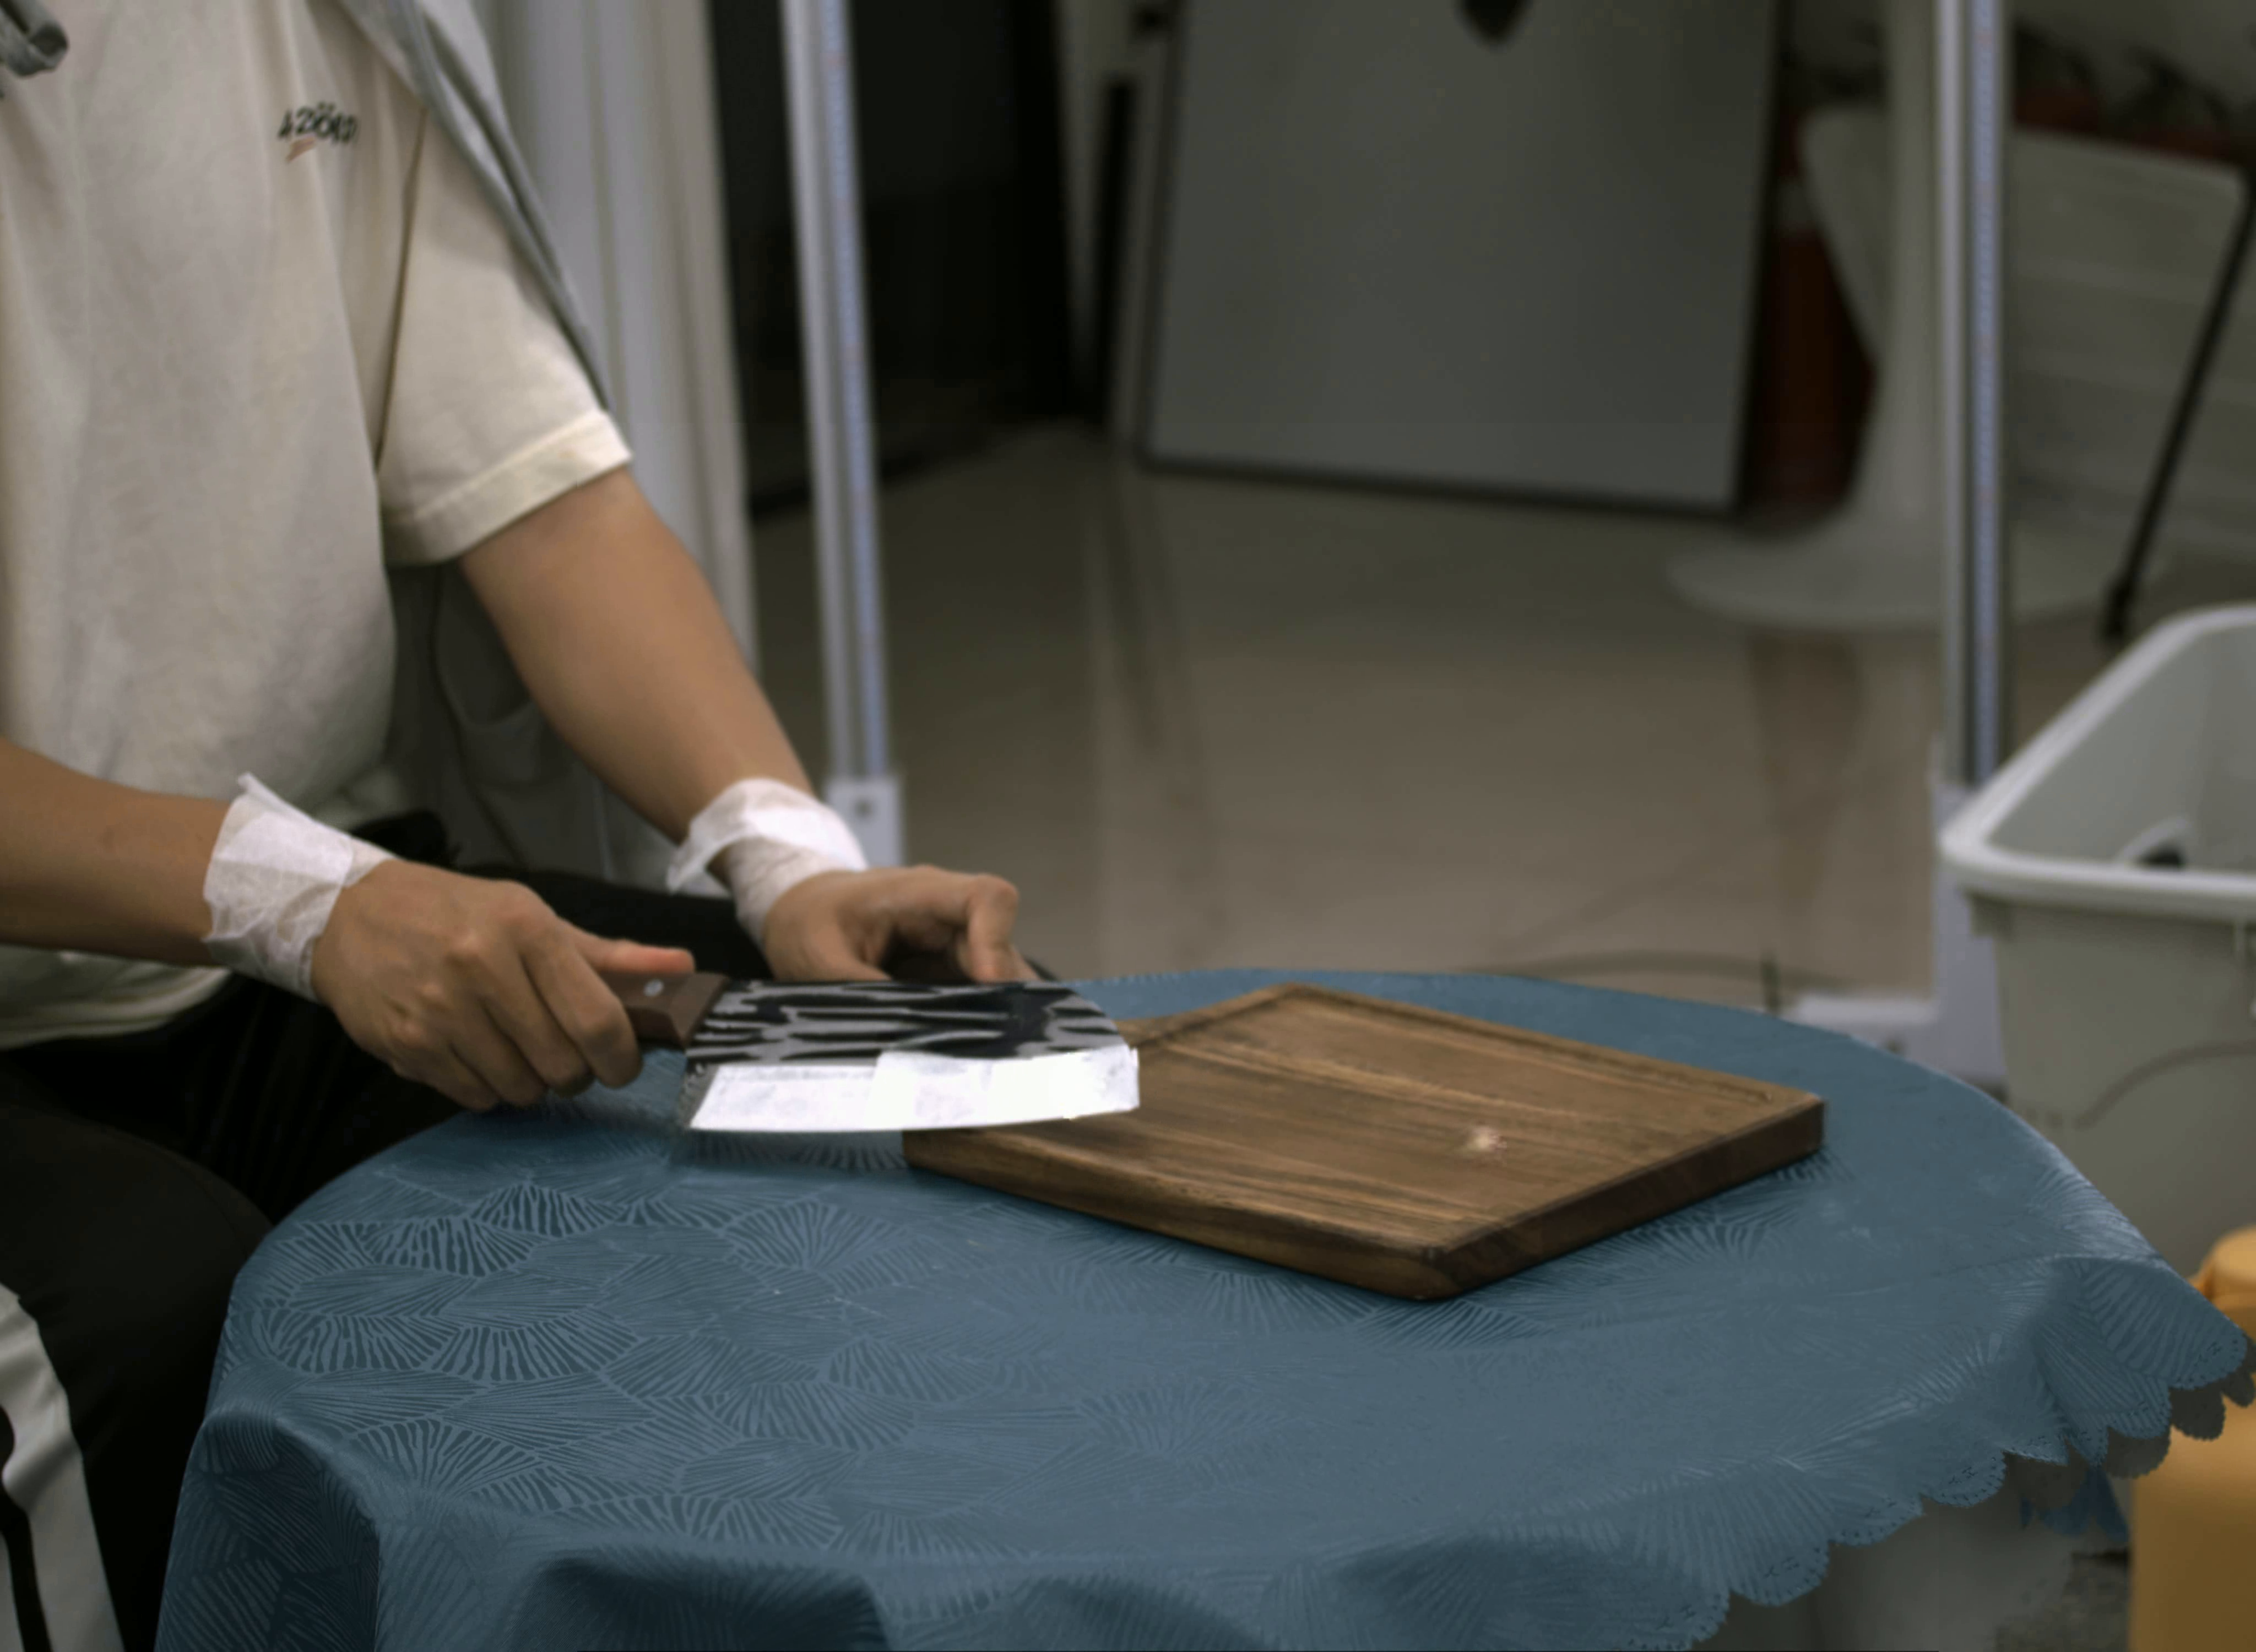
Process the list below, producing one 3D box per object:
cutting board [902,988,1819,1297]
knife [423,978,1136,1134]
[{"bbox_3d":[0.042,0.095,1.826,0.197,0.023,0.355,-16,18,-41],"label":"cutting board"},{"bbox_3d":[-0.124,0.080,1.847,0.300,0.024,0.068,-1,47,28],"label":"knife"}]
